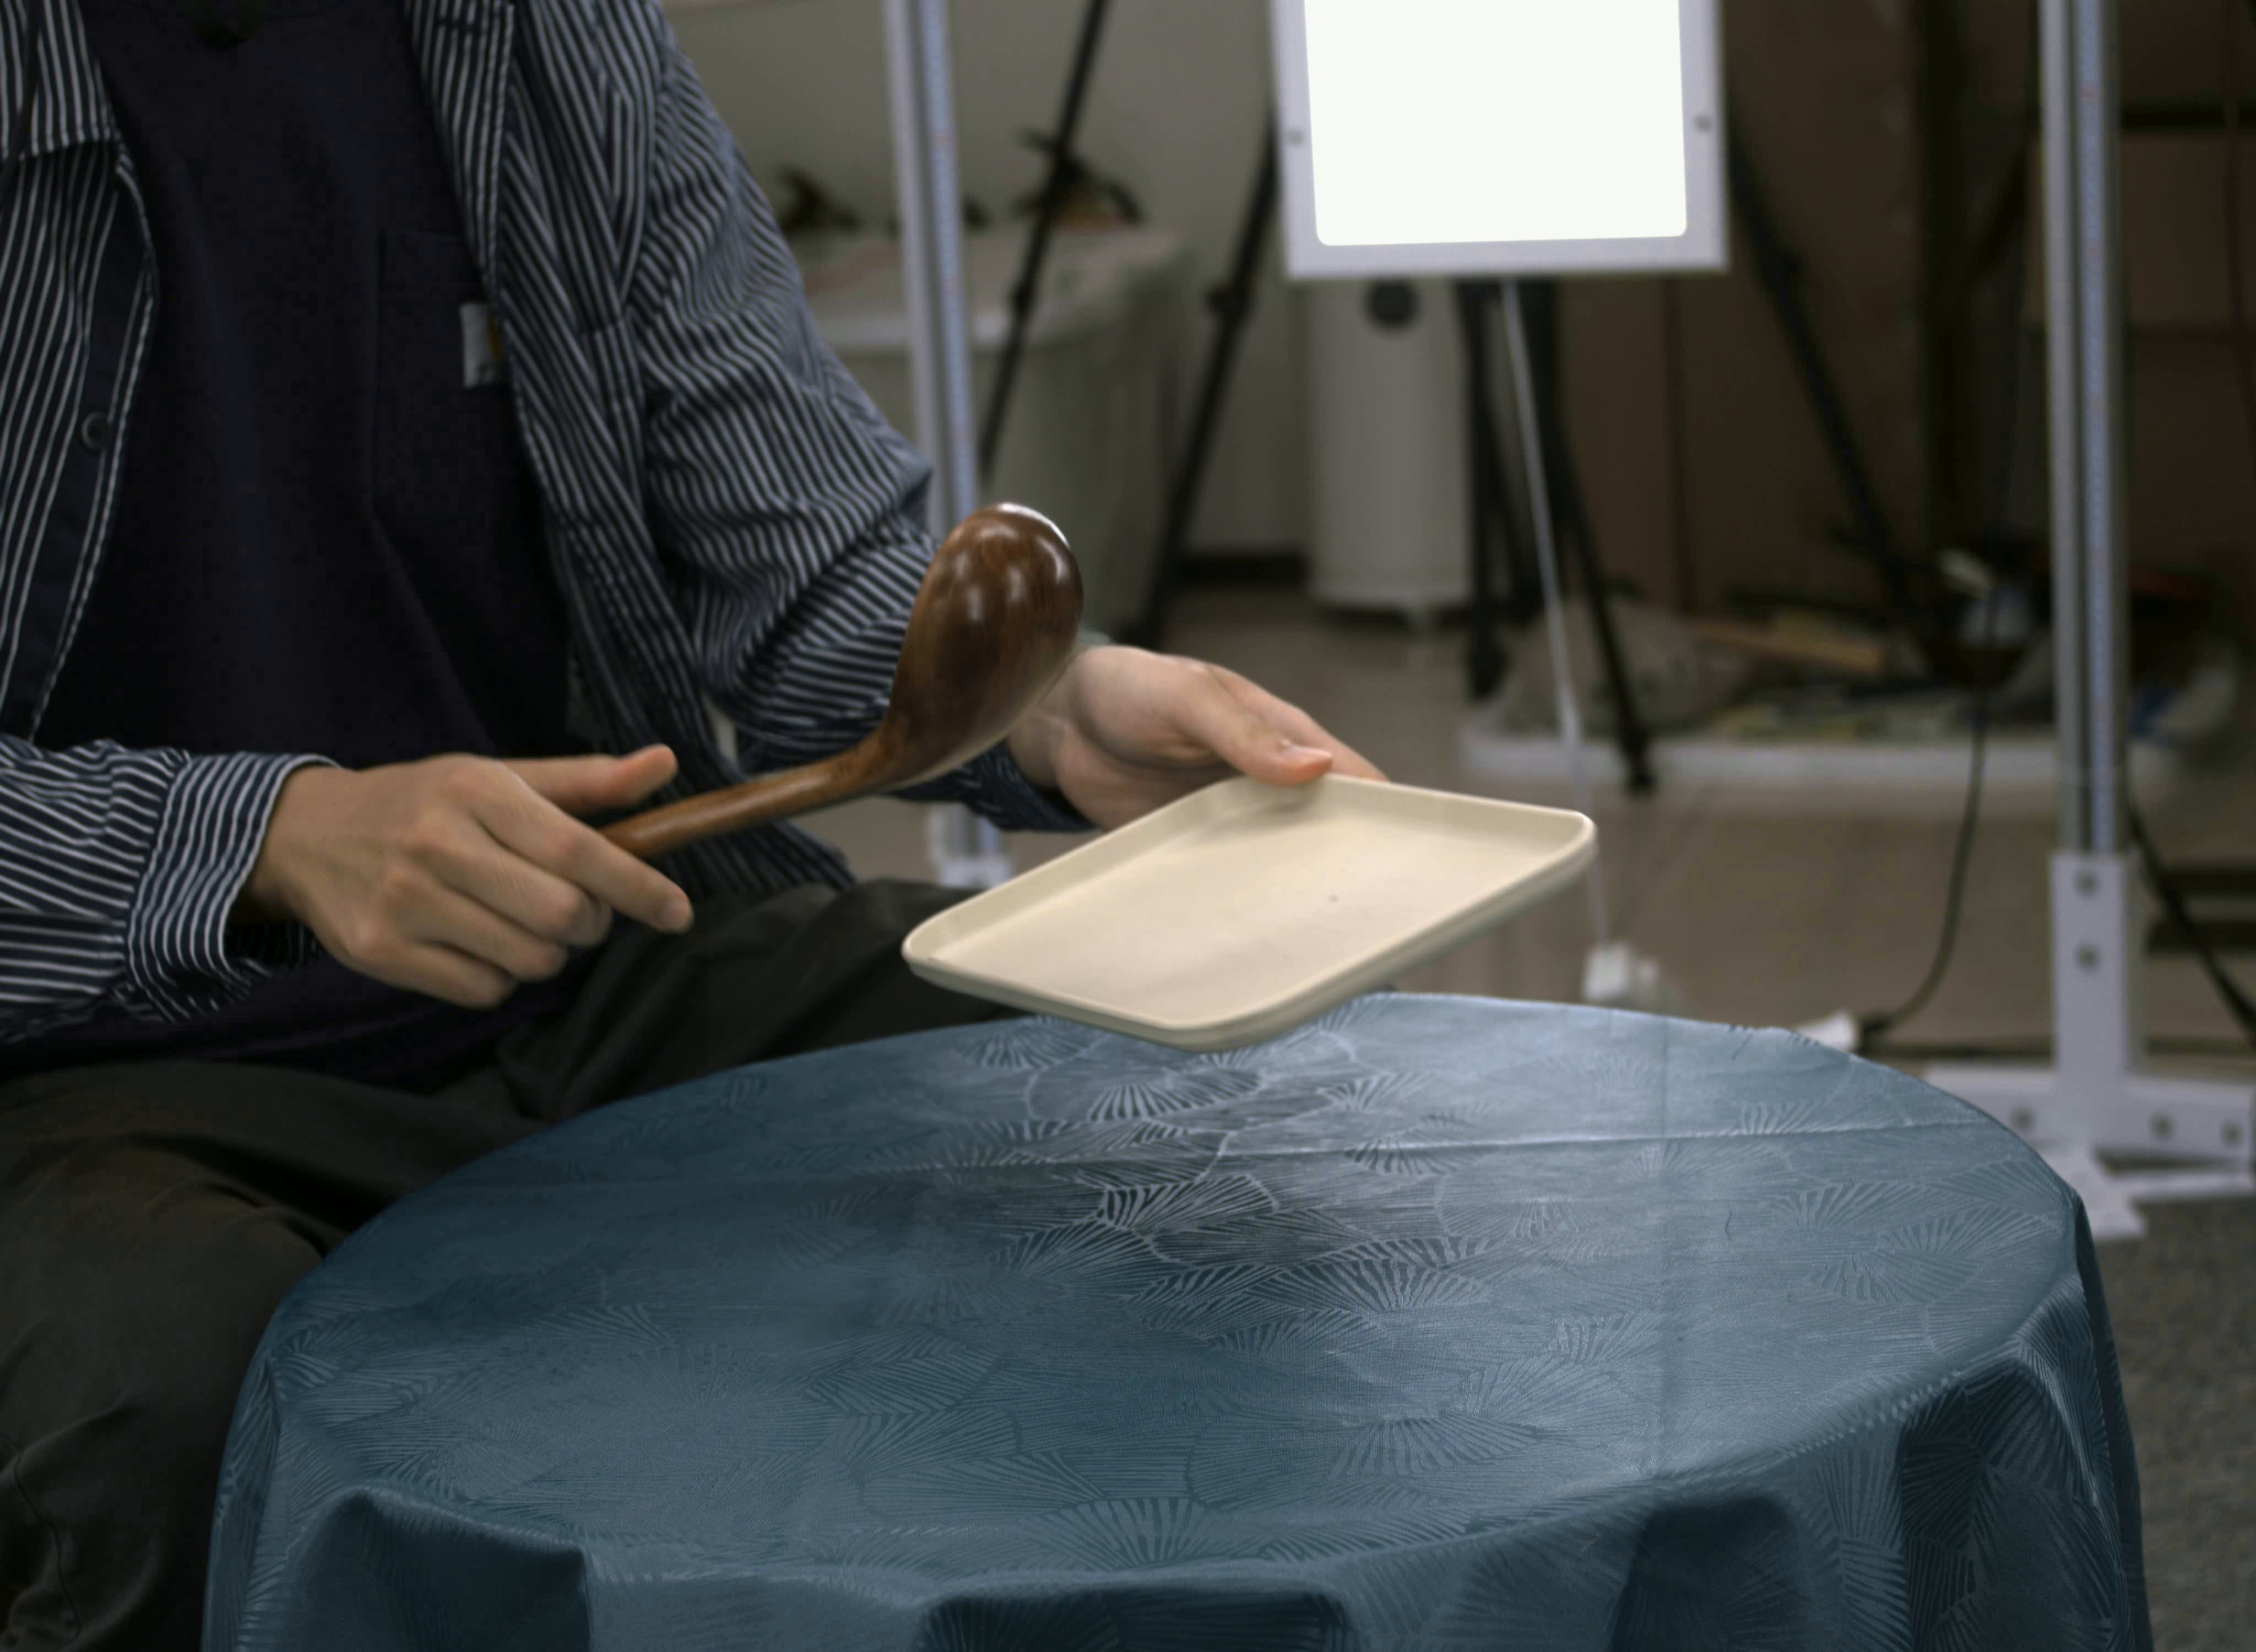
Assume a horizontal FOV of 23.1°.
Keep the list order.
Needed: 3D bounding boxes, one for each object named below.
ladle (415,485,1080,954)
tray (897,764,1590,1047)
[{"bbox_3d":[-0.134,-0.035,1.813,0.279,0.077,0.080,-20,-17,30],"label":"ladle"},{"bbox_3d":[0.037,0.026,1.851,0.168,0.017,0.244,-26,16,-23],"label":"tray"}]
